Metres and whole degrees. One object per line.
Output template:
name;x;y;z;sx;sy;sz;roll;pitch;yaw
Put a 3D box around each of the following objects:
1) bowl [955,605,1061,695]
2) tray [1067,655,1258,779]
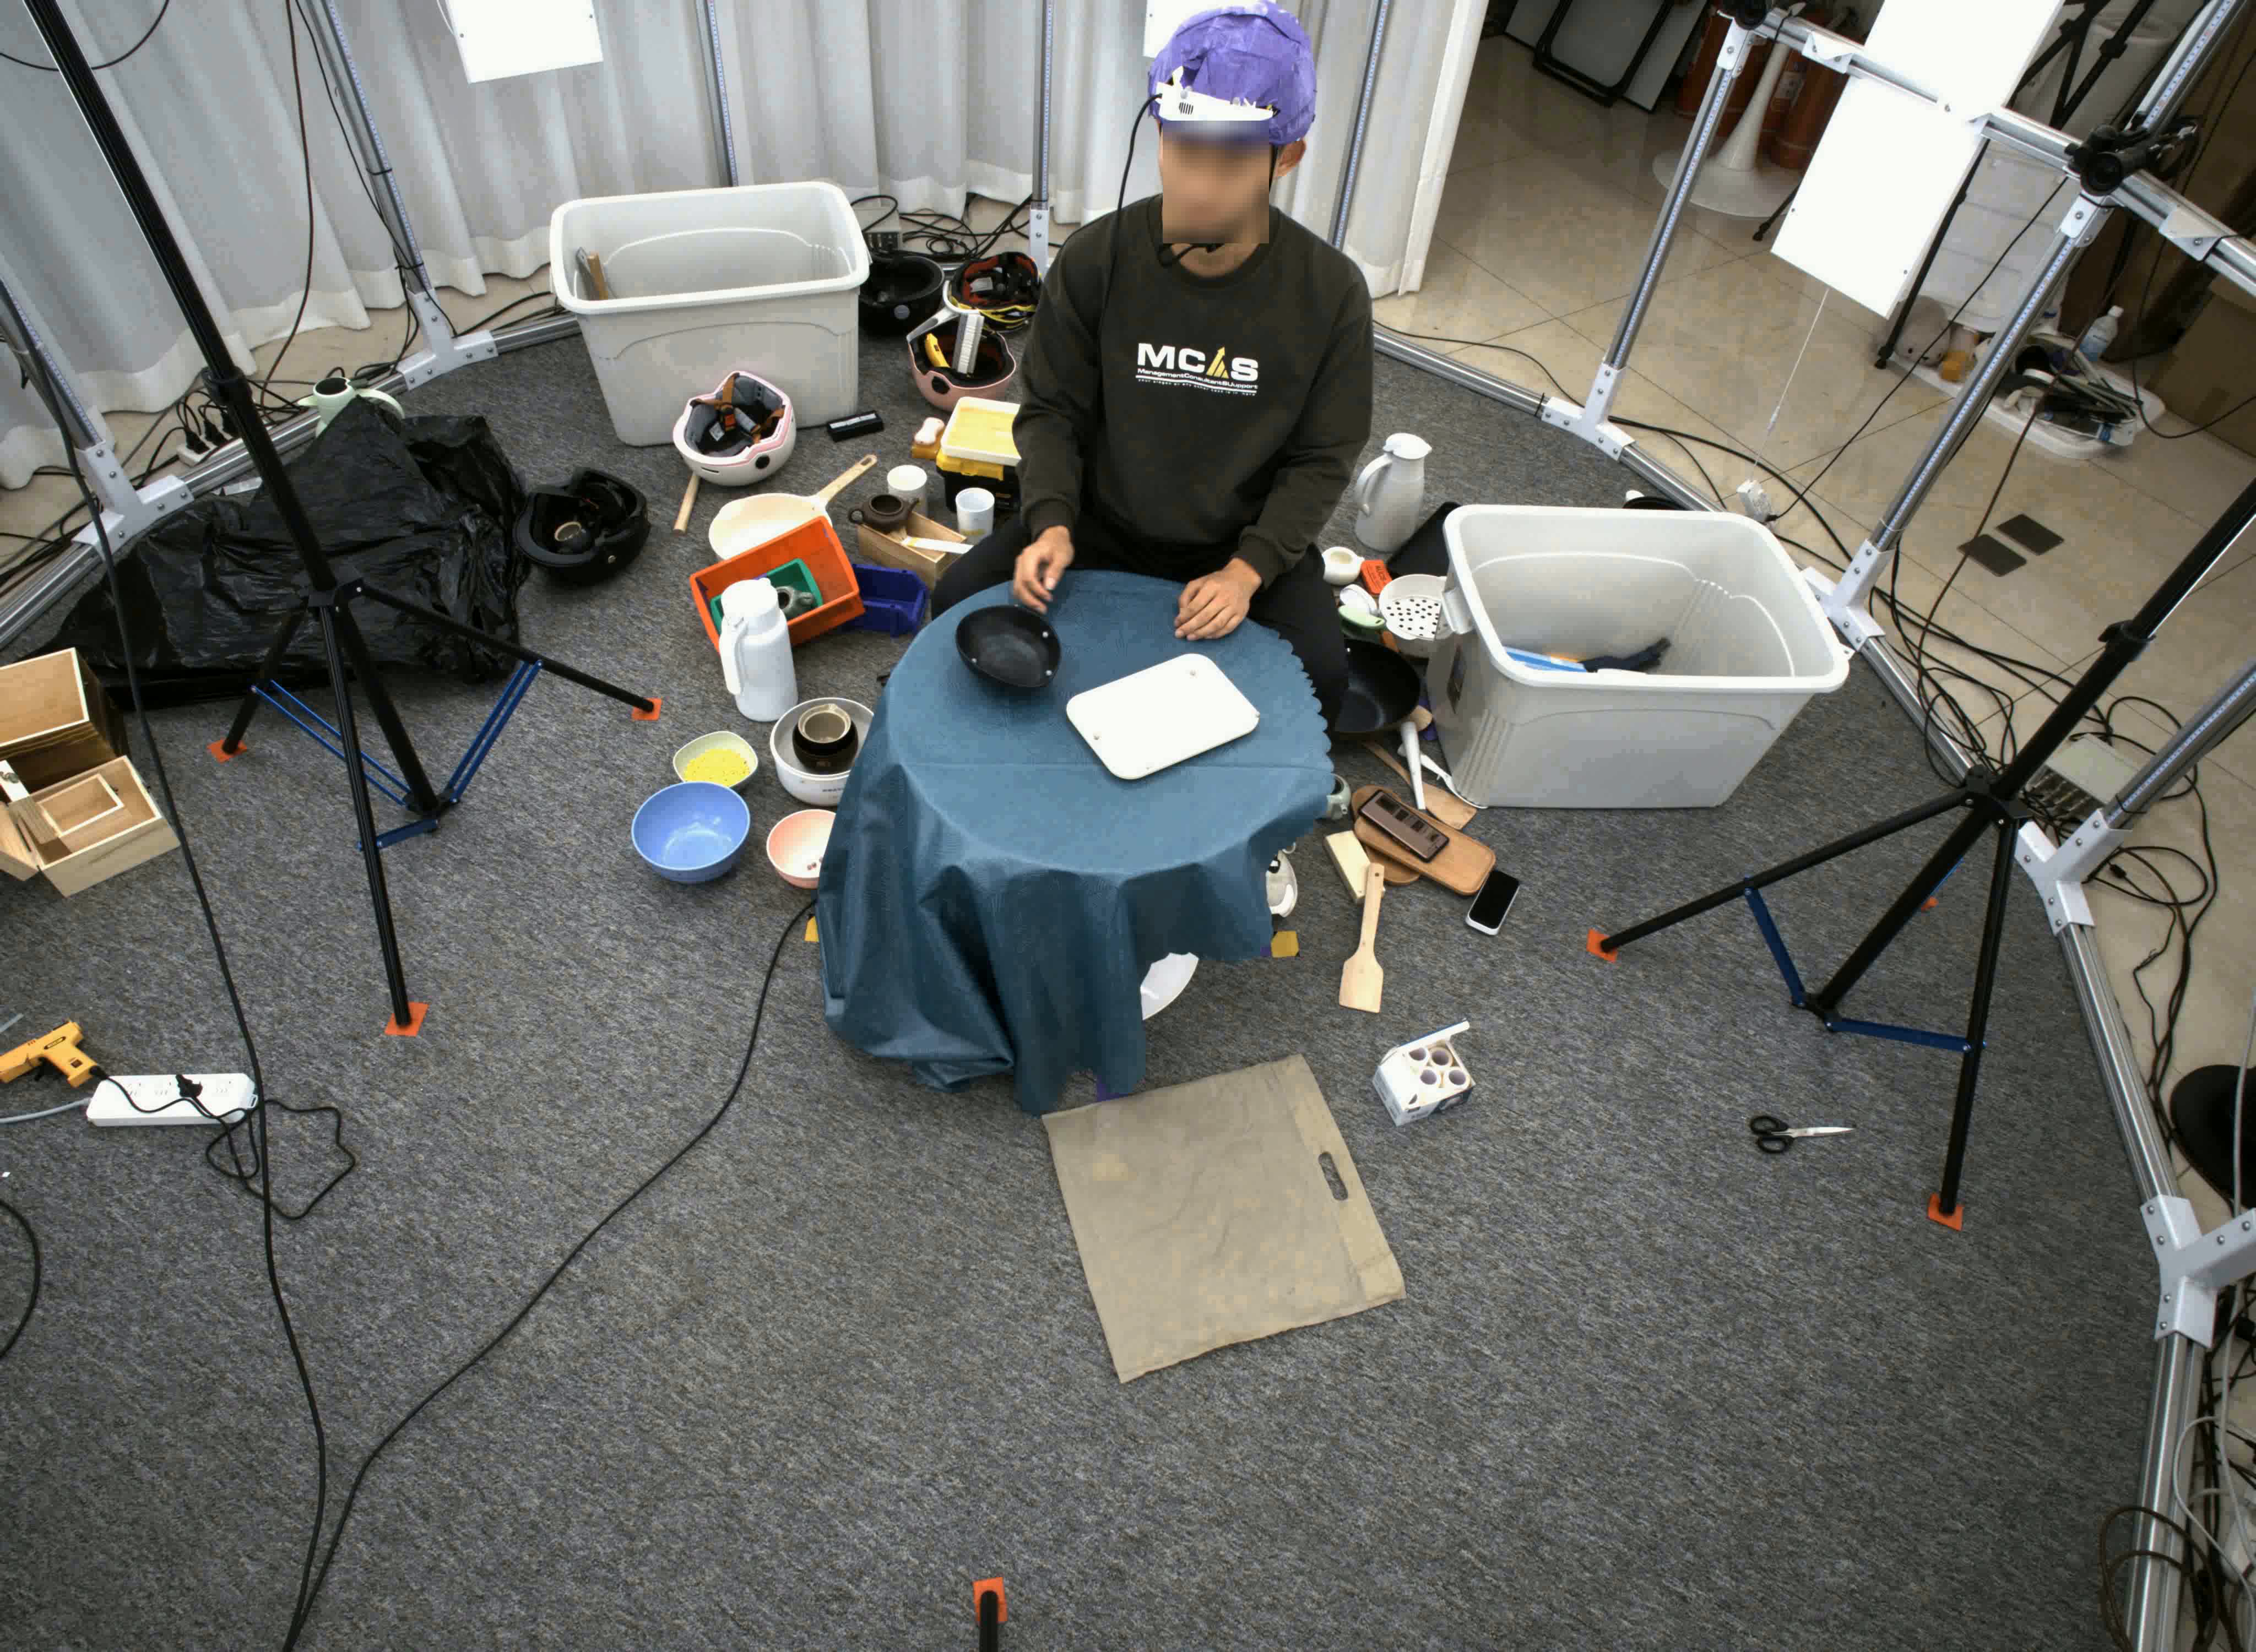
bowl;-0.167;-0.239;1.820;0.138;0.065;0.173;-30;59;-26
tray;0.049;-0.154;1.790;0.240;0.017;0.175;-23;54;-22
